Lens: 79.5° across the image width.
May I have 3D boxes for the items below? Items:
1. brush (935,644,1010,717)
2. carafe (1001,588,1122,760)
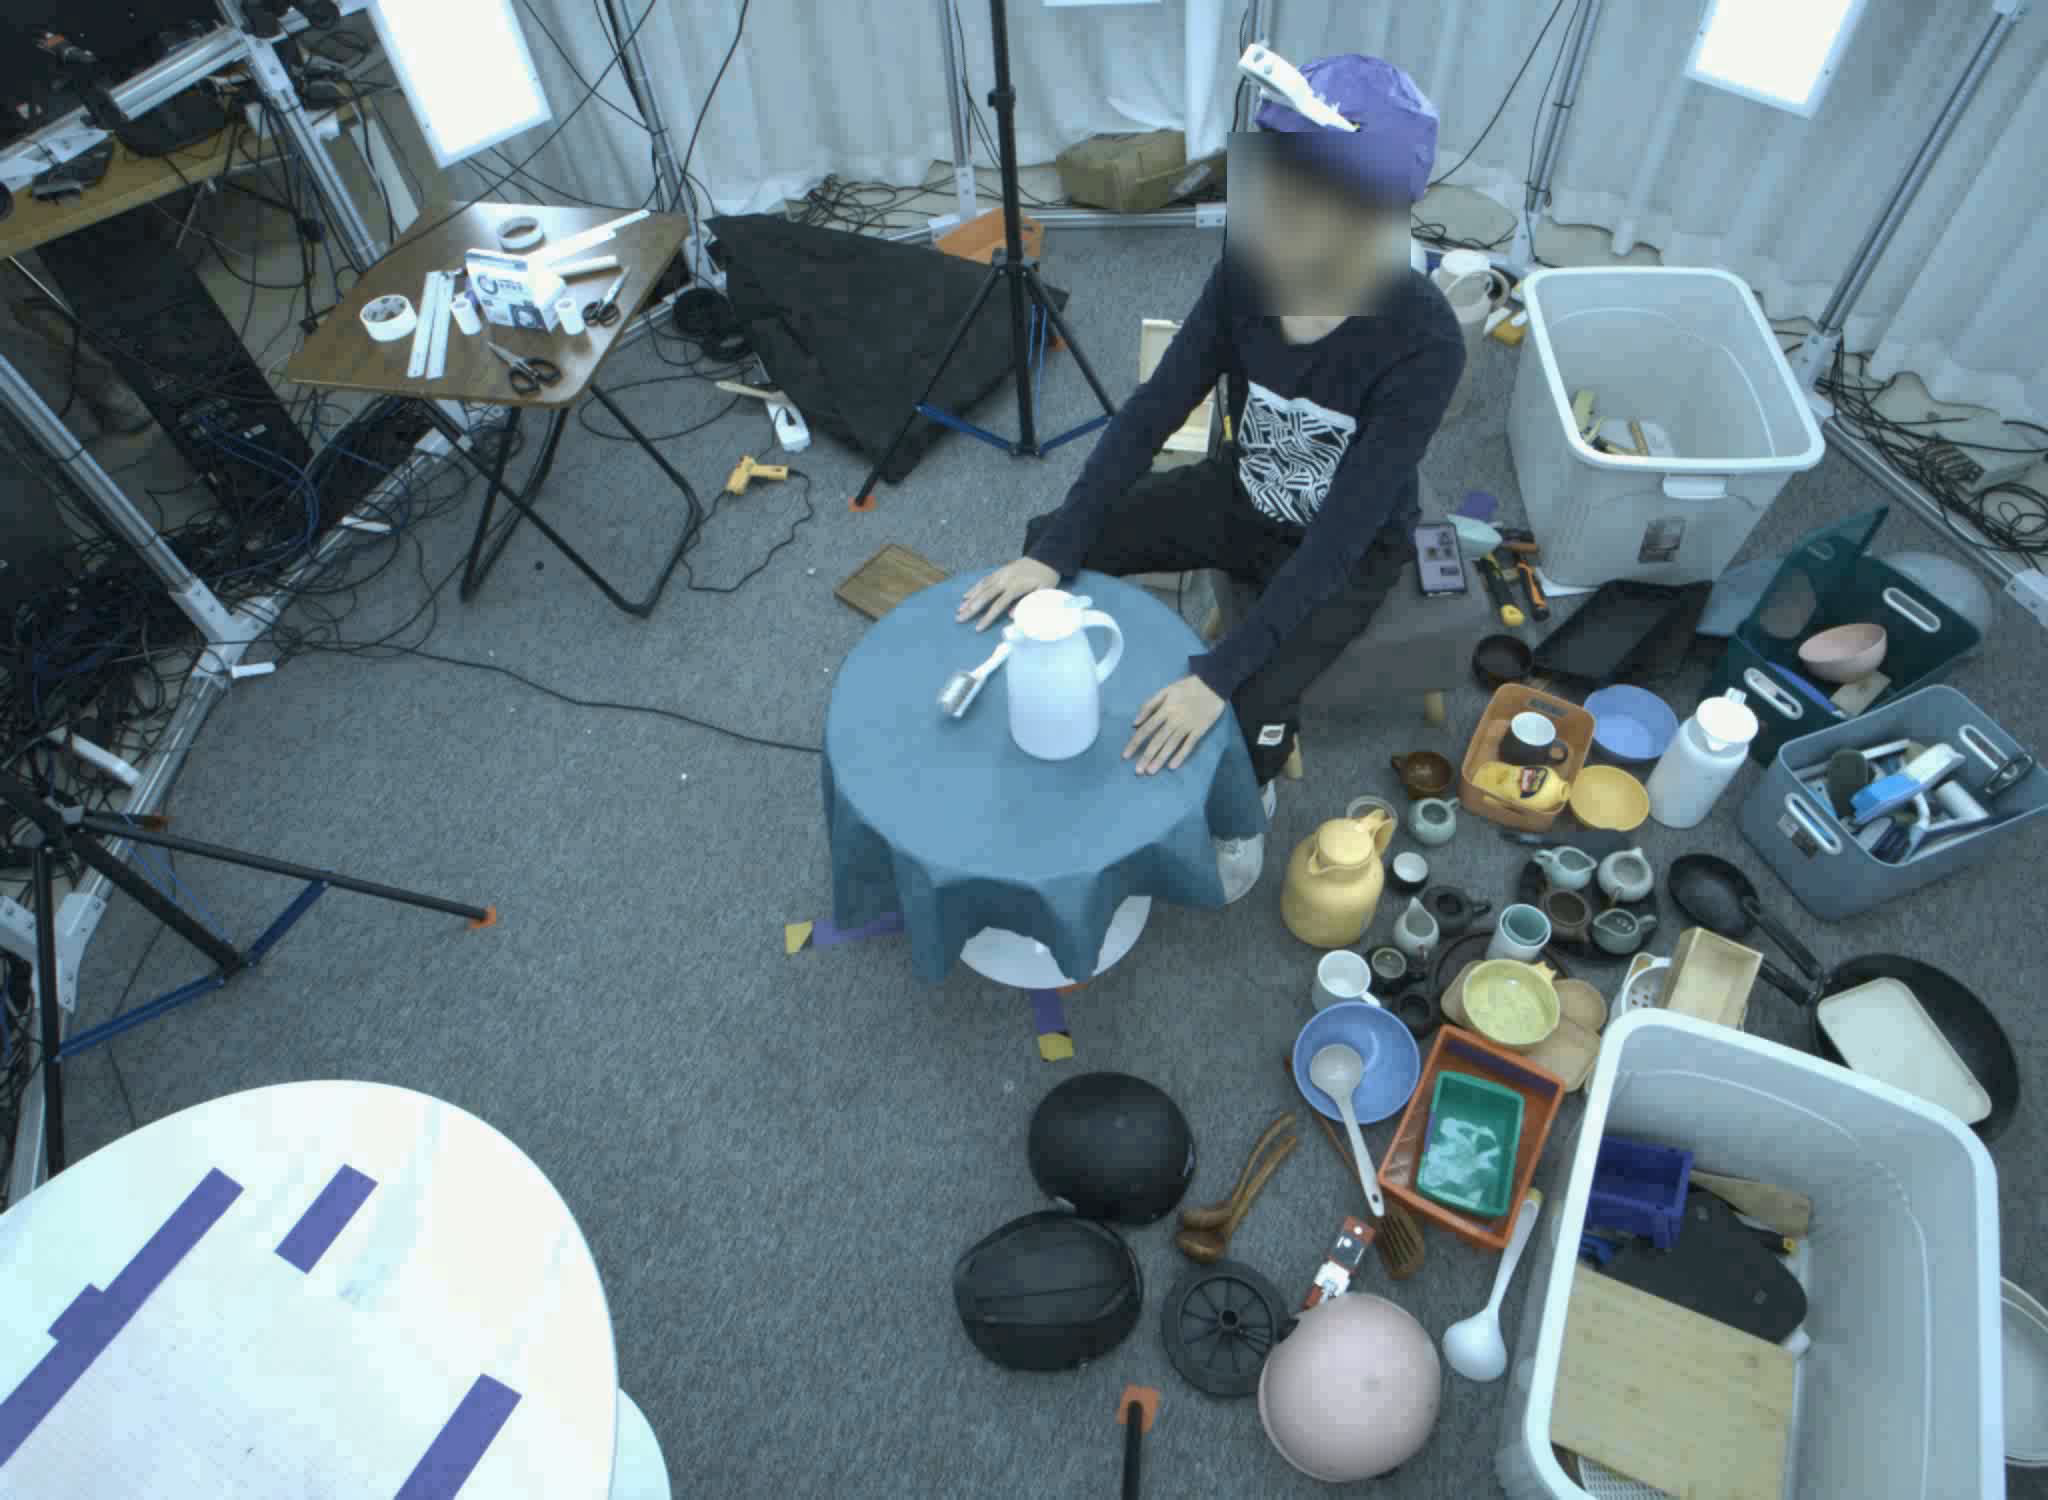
[{"bbox_3d":[-0.044,-0.139,1.851,0.034,0.051,0.245,30,61,27],"label":"brush"},{"bbox_3d":[0.055,-0.117,1.708,0.169,0.251,0.130,-19,55,-10],"label":"carafe"}]
